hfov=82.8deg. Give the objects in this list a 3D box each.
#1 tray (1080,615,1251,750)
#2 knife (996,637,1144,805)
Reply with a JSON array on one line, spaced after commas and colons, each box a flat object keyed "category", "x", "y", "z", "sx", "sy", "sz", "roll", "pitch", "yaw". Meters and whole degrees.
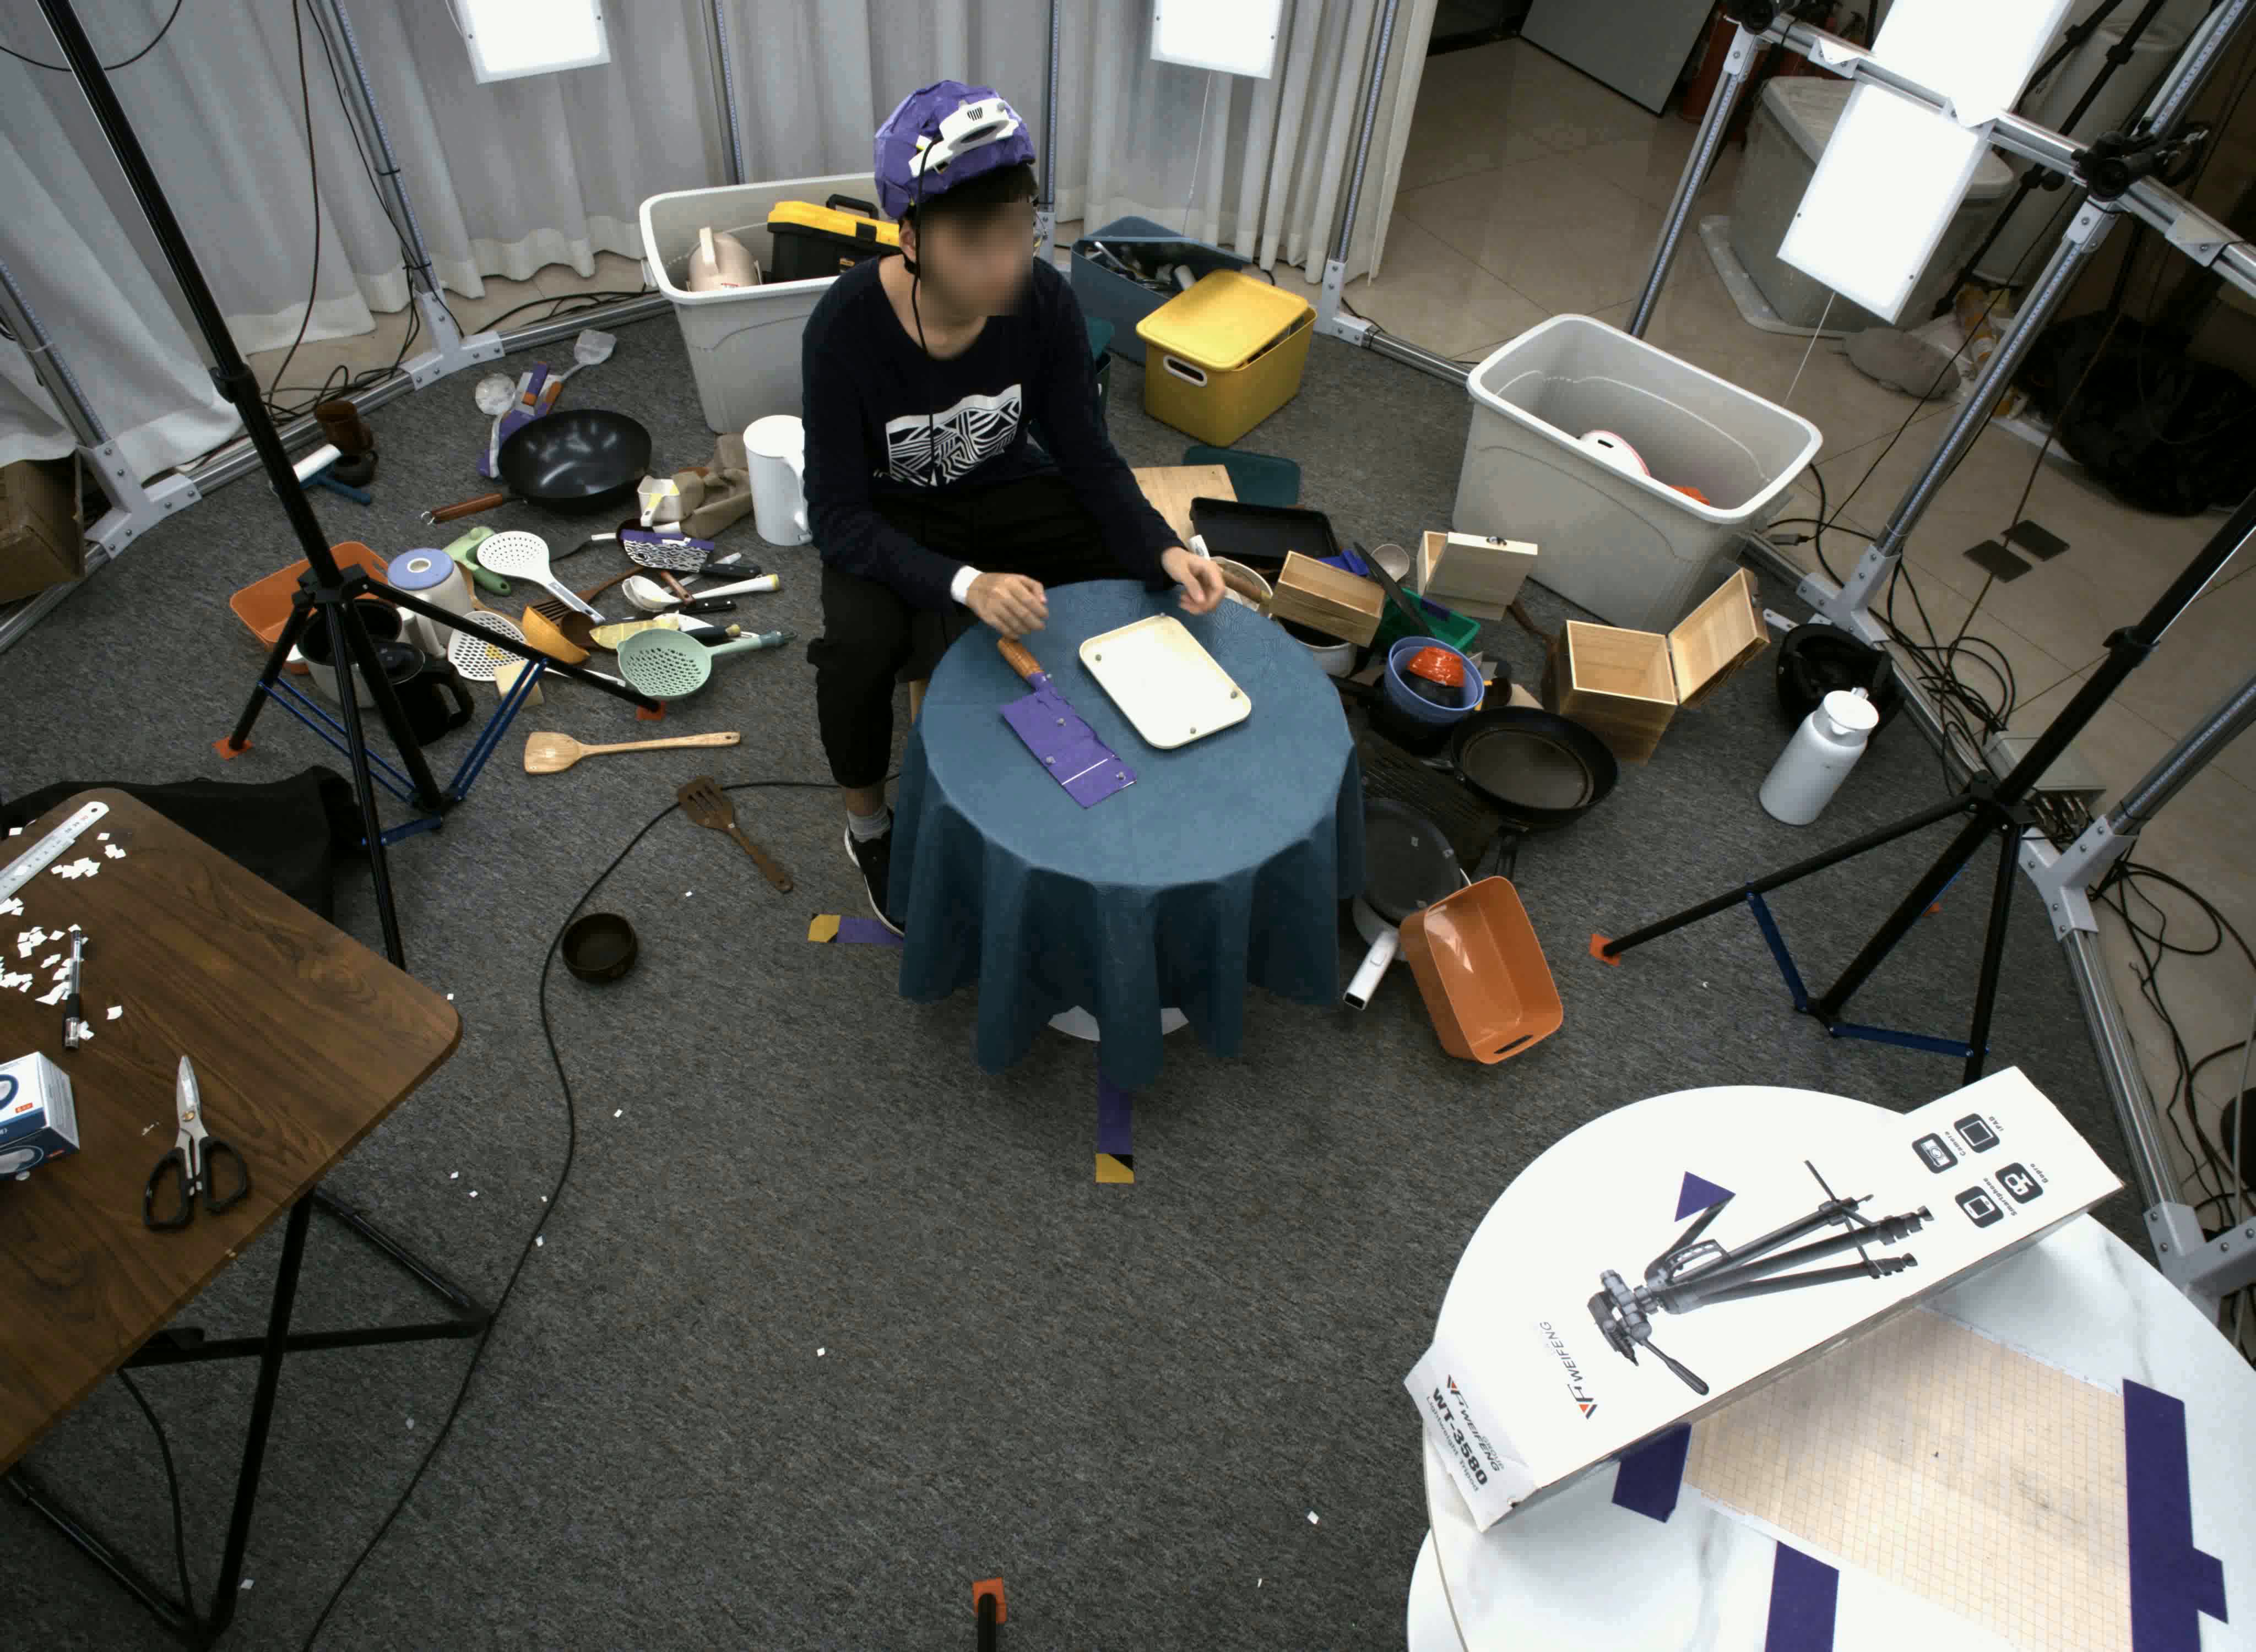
[{"category": "tray", "x": 0.051, "y": -0.208, "z": 1.839, "sx": 0.172, "sy": 0.017, "sz": 0.245, "roll": -23, "pitch": 54, "yaw": -21}, {"category": "knife", "x": -0.111, "y": -0.150, "z": 1.772, "sx": 0.104, "sy": 0.031, "sz": 0.321, "roll": -27, "pitch": 57, "yaw": -25}]
